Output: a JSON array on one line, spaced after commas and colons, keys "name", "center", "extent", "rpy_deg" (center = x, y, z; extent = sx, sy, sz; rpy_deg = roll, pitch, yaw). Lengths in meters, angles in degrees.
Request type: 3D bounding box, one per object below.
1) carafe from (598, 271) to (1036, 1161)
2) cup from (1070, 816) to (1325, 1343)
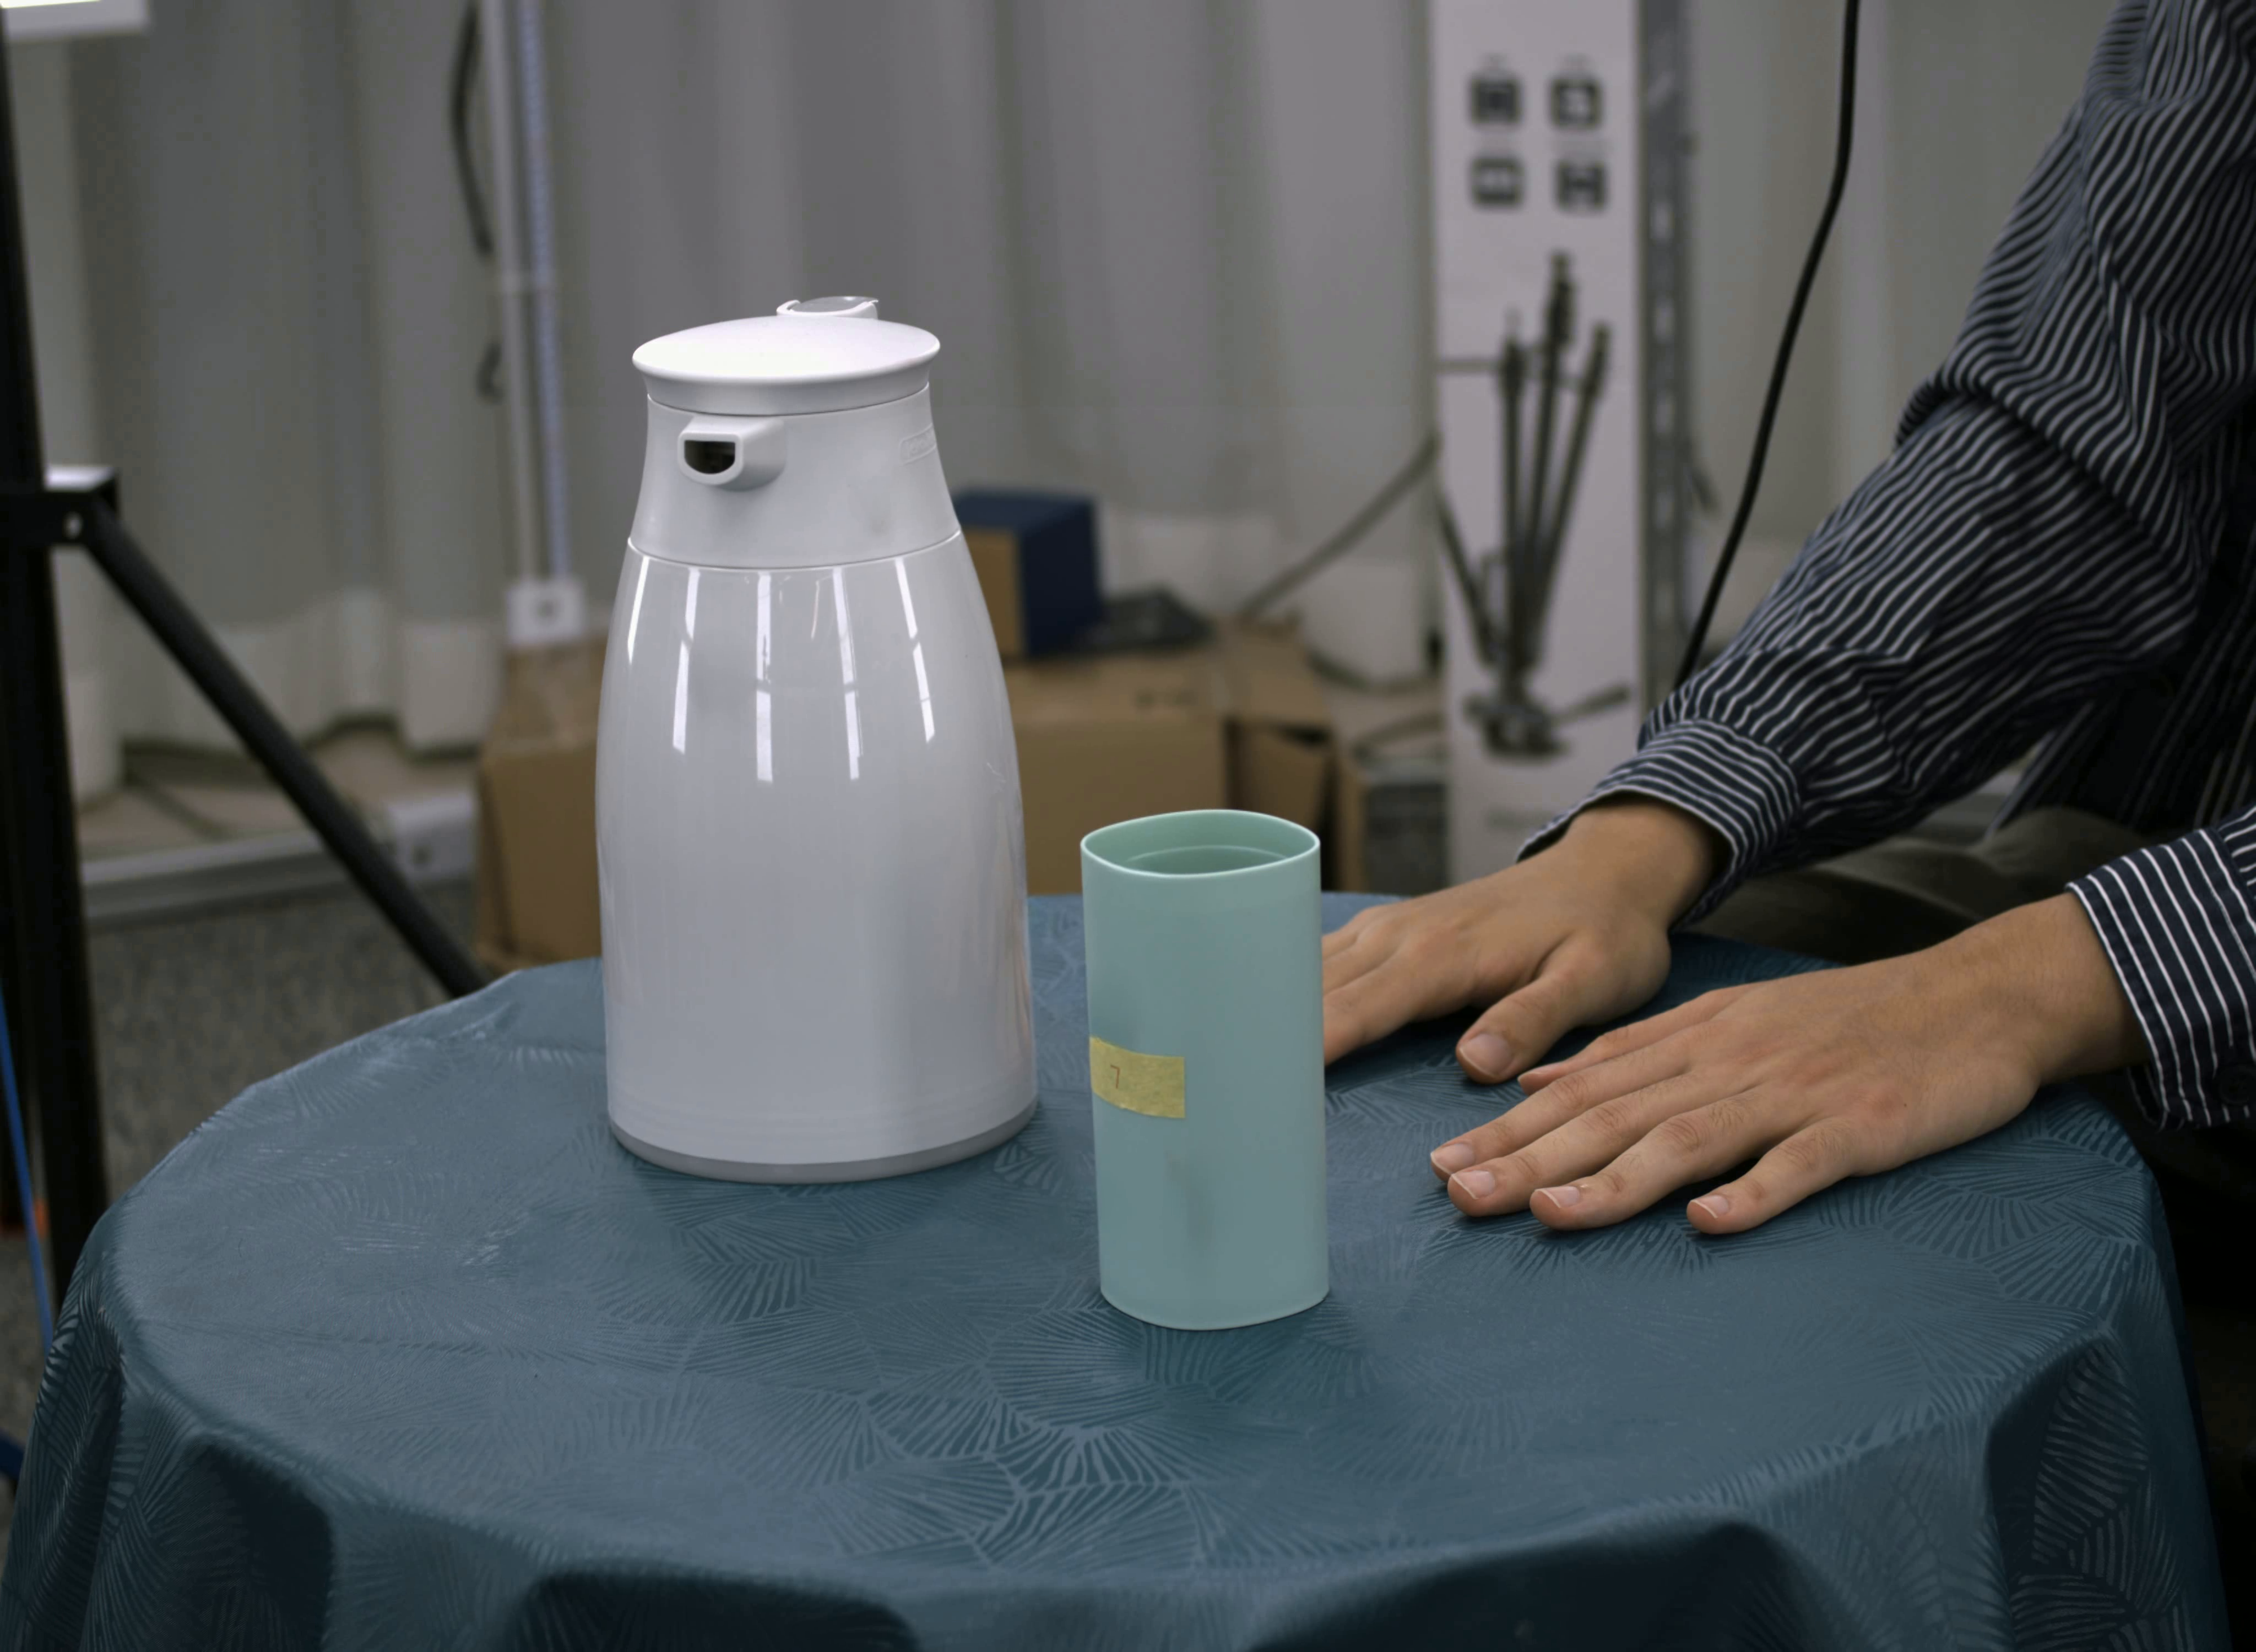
[{"name": "carafe", "center": [-0.093, -0.042, 1.633], "extent": [0.133, 0.248, 0.166], "rpy_deg": [2, 15, 16]}, {"name": "cup", "center": [0.021, 0.069, 1.466], "extent": [0.066, 0.132, 0.067], "rpy_deg": [-4, 17, 0]}]
